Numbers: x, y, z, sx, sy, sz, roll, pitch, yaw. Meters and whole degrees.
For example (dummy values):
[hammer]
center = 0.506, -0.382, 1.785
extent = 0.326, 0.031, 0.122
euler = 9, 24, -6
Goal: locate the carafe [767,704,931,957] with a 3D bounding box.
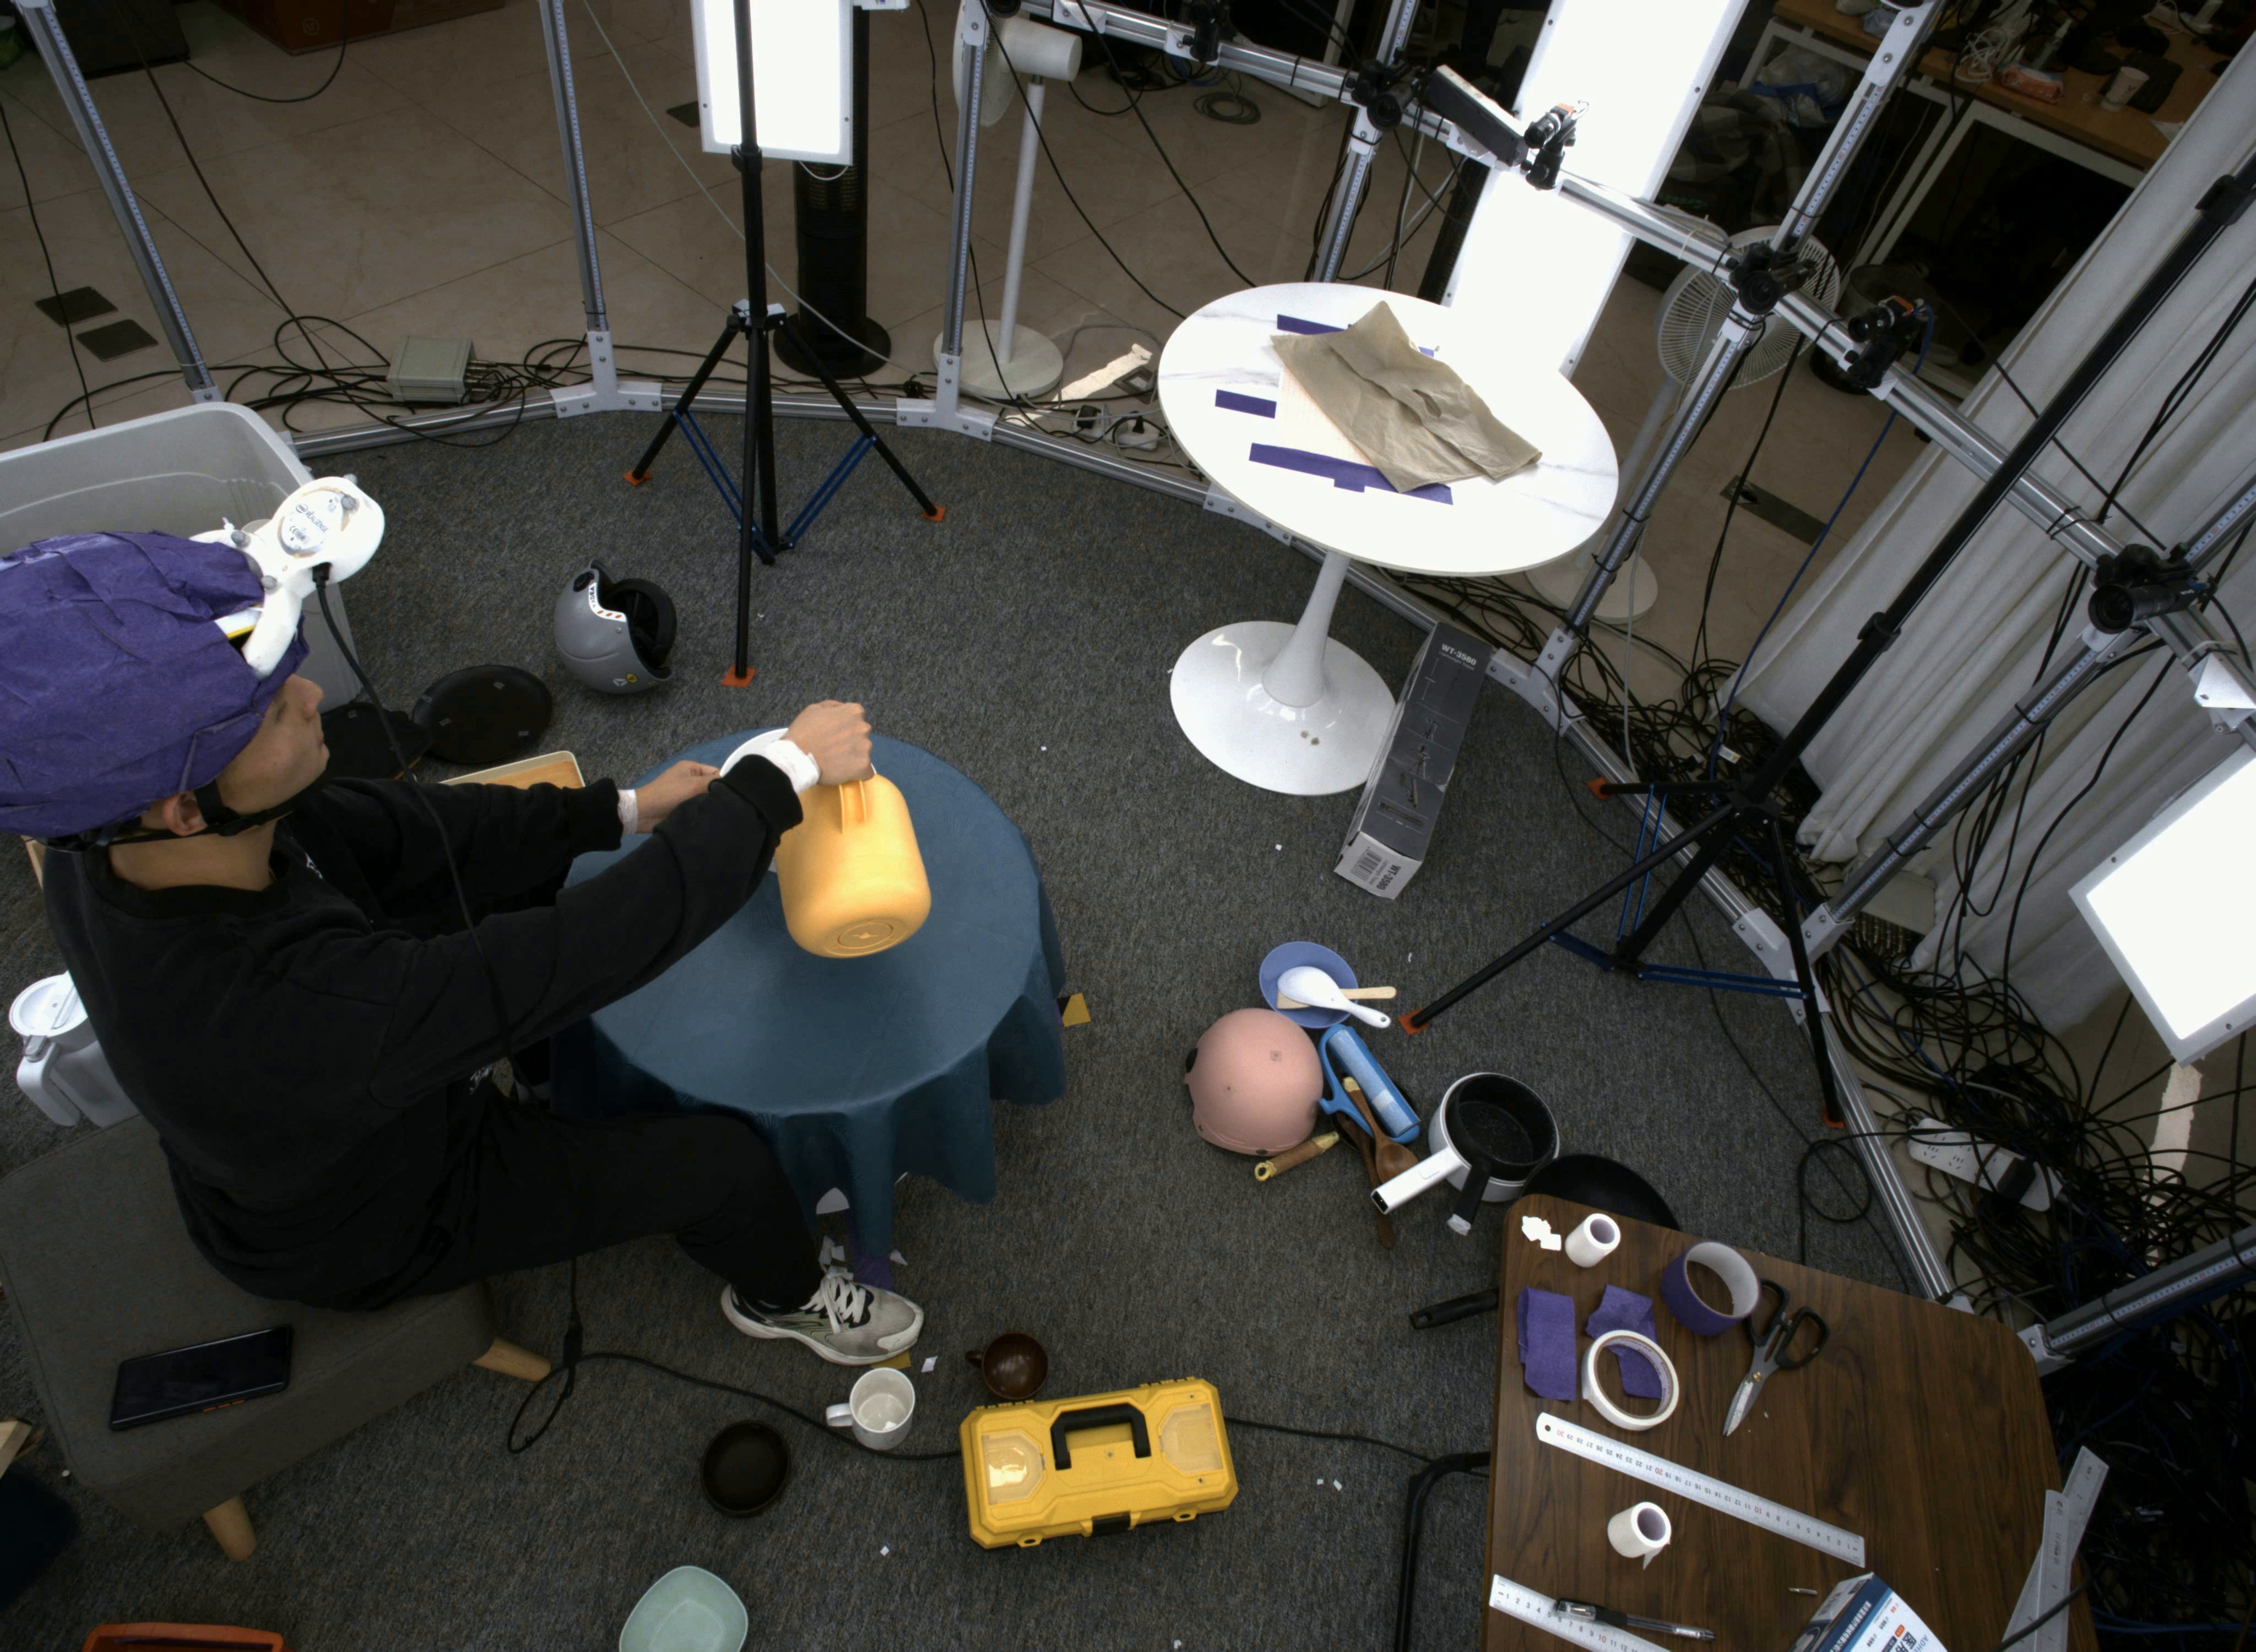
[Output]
[carafe]
center = -0.326, -0.004, 1.463
extent = 0.164, 0.205, 0.256
euler = -12, 64, -20

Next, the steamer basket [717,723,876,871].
[steamer basket]
center = -0.418, -0.034, 1.648
extent = 0.200, 0.070, 0.229
euler = 25, 52, 3
